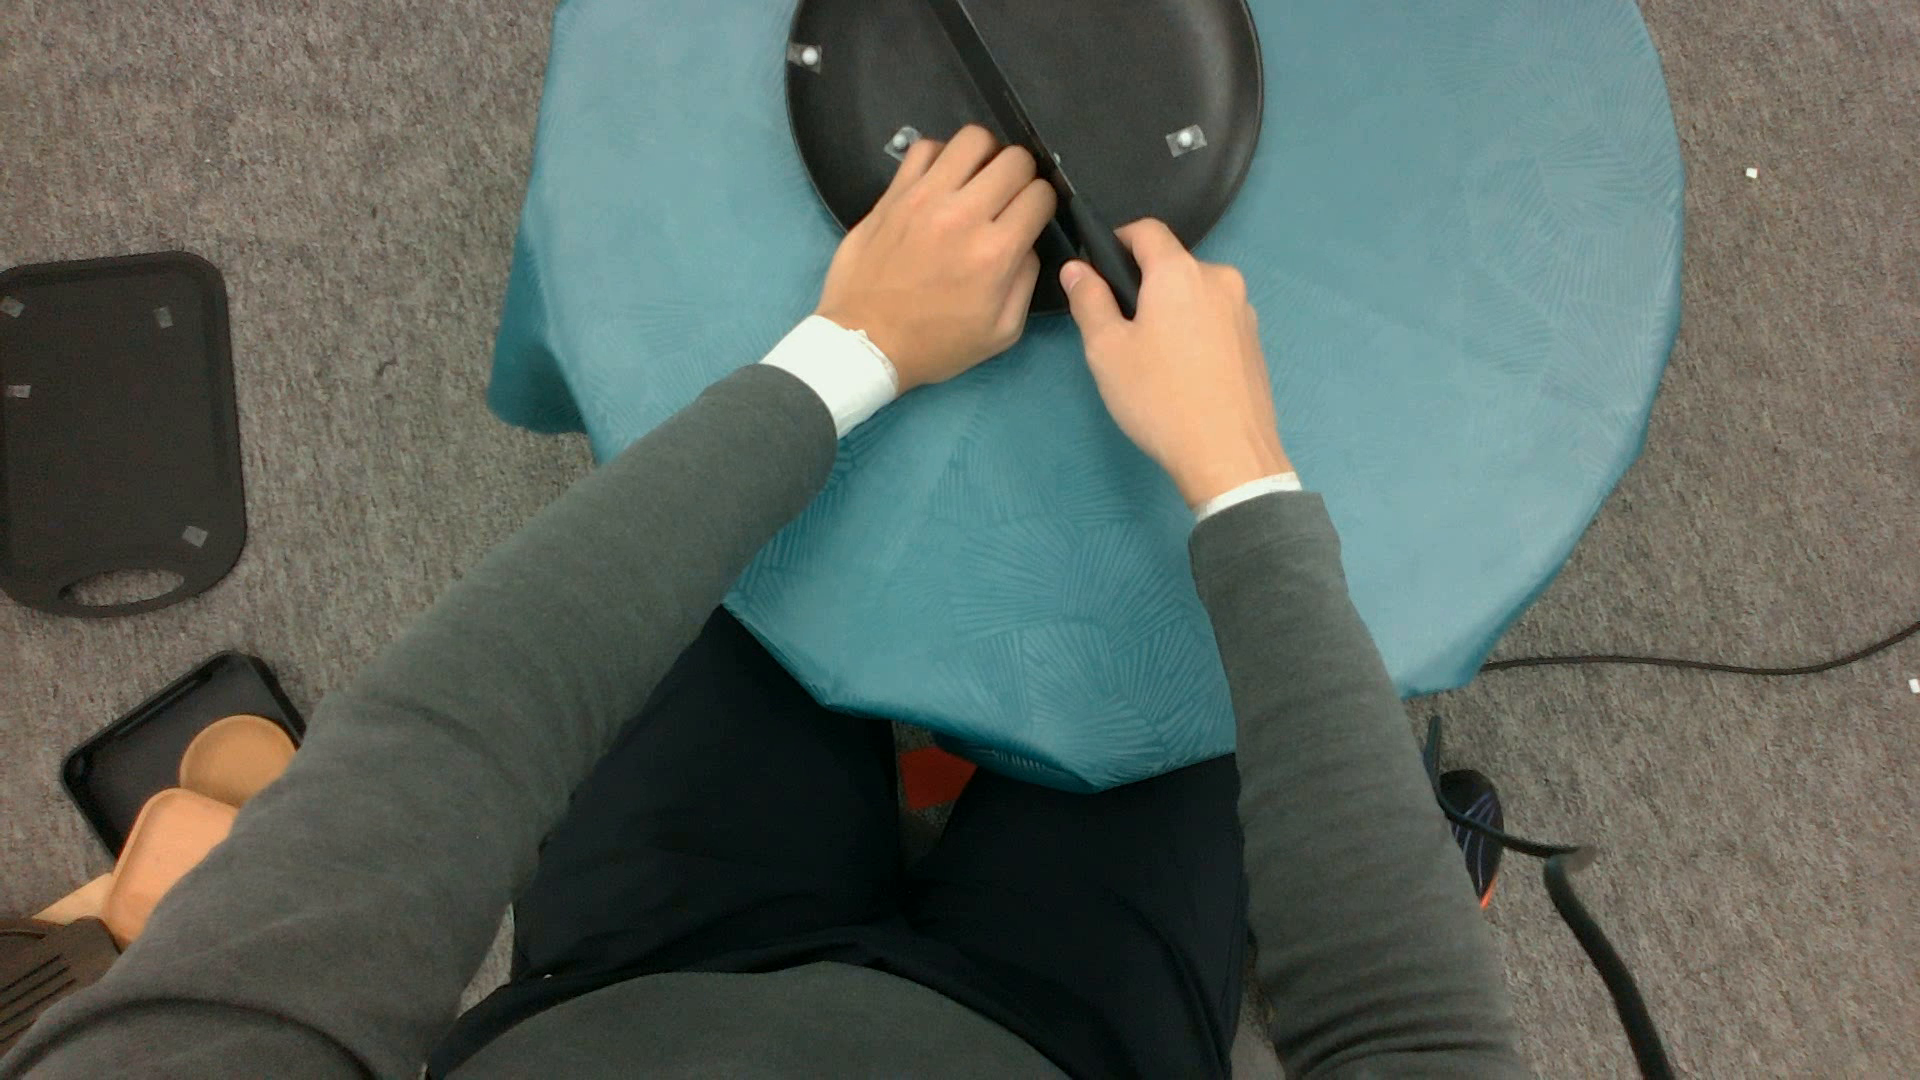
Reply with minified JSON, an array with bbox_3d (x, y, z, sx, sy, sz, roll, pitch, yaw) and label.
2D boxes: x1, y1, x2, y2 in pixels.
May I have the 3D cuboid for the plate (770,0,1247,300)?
[{"bbox_3d":[0.026,-0.239,0.707,0.244,0.023,0.244,0,83,-3],"label":"plate"}]

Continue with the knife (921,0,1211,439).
[{"bbox_3d":[0.036,-0.180,0.662,0.021,0.081,0.302,-30,81,-2],"label":"knife"}]
